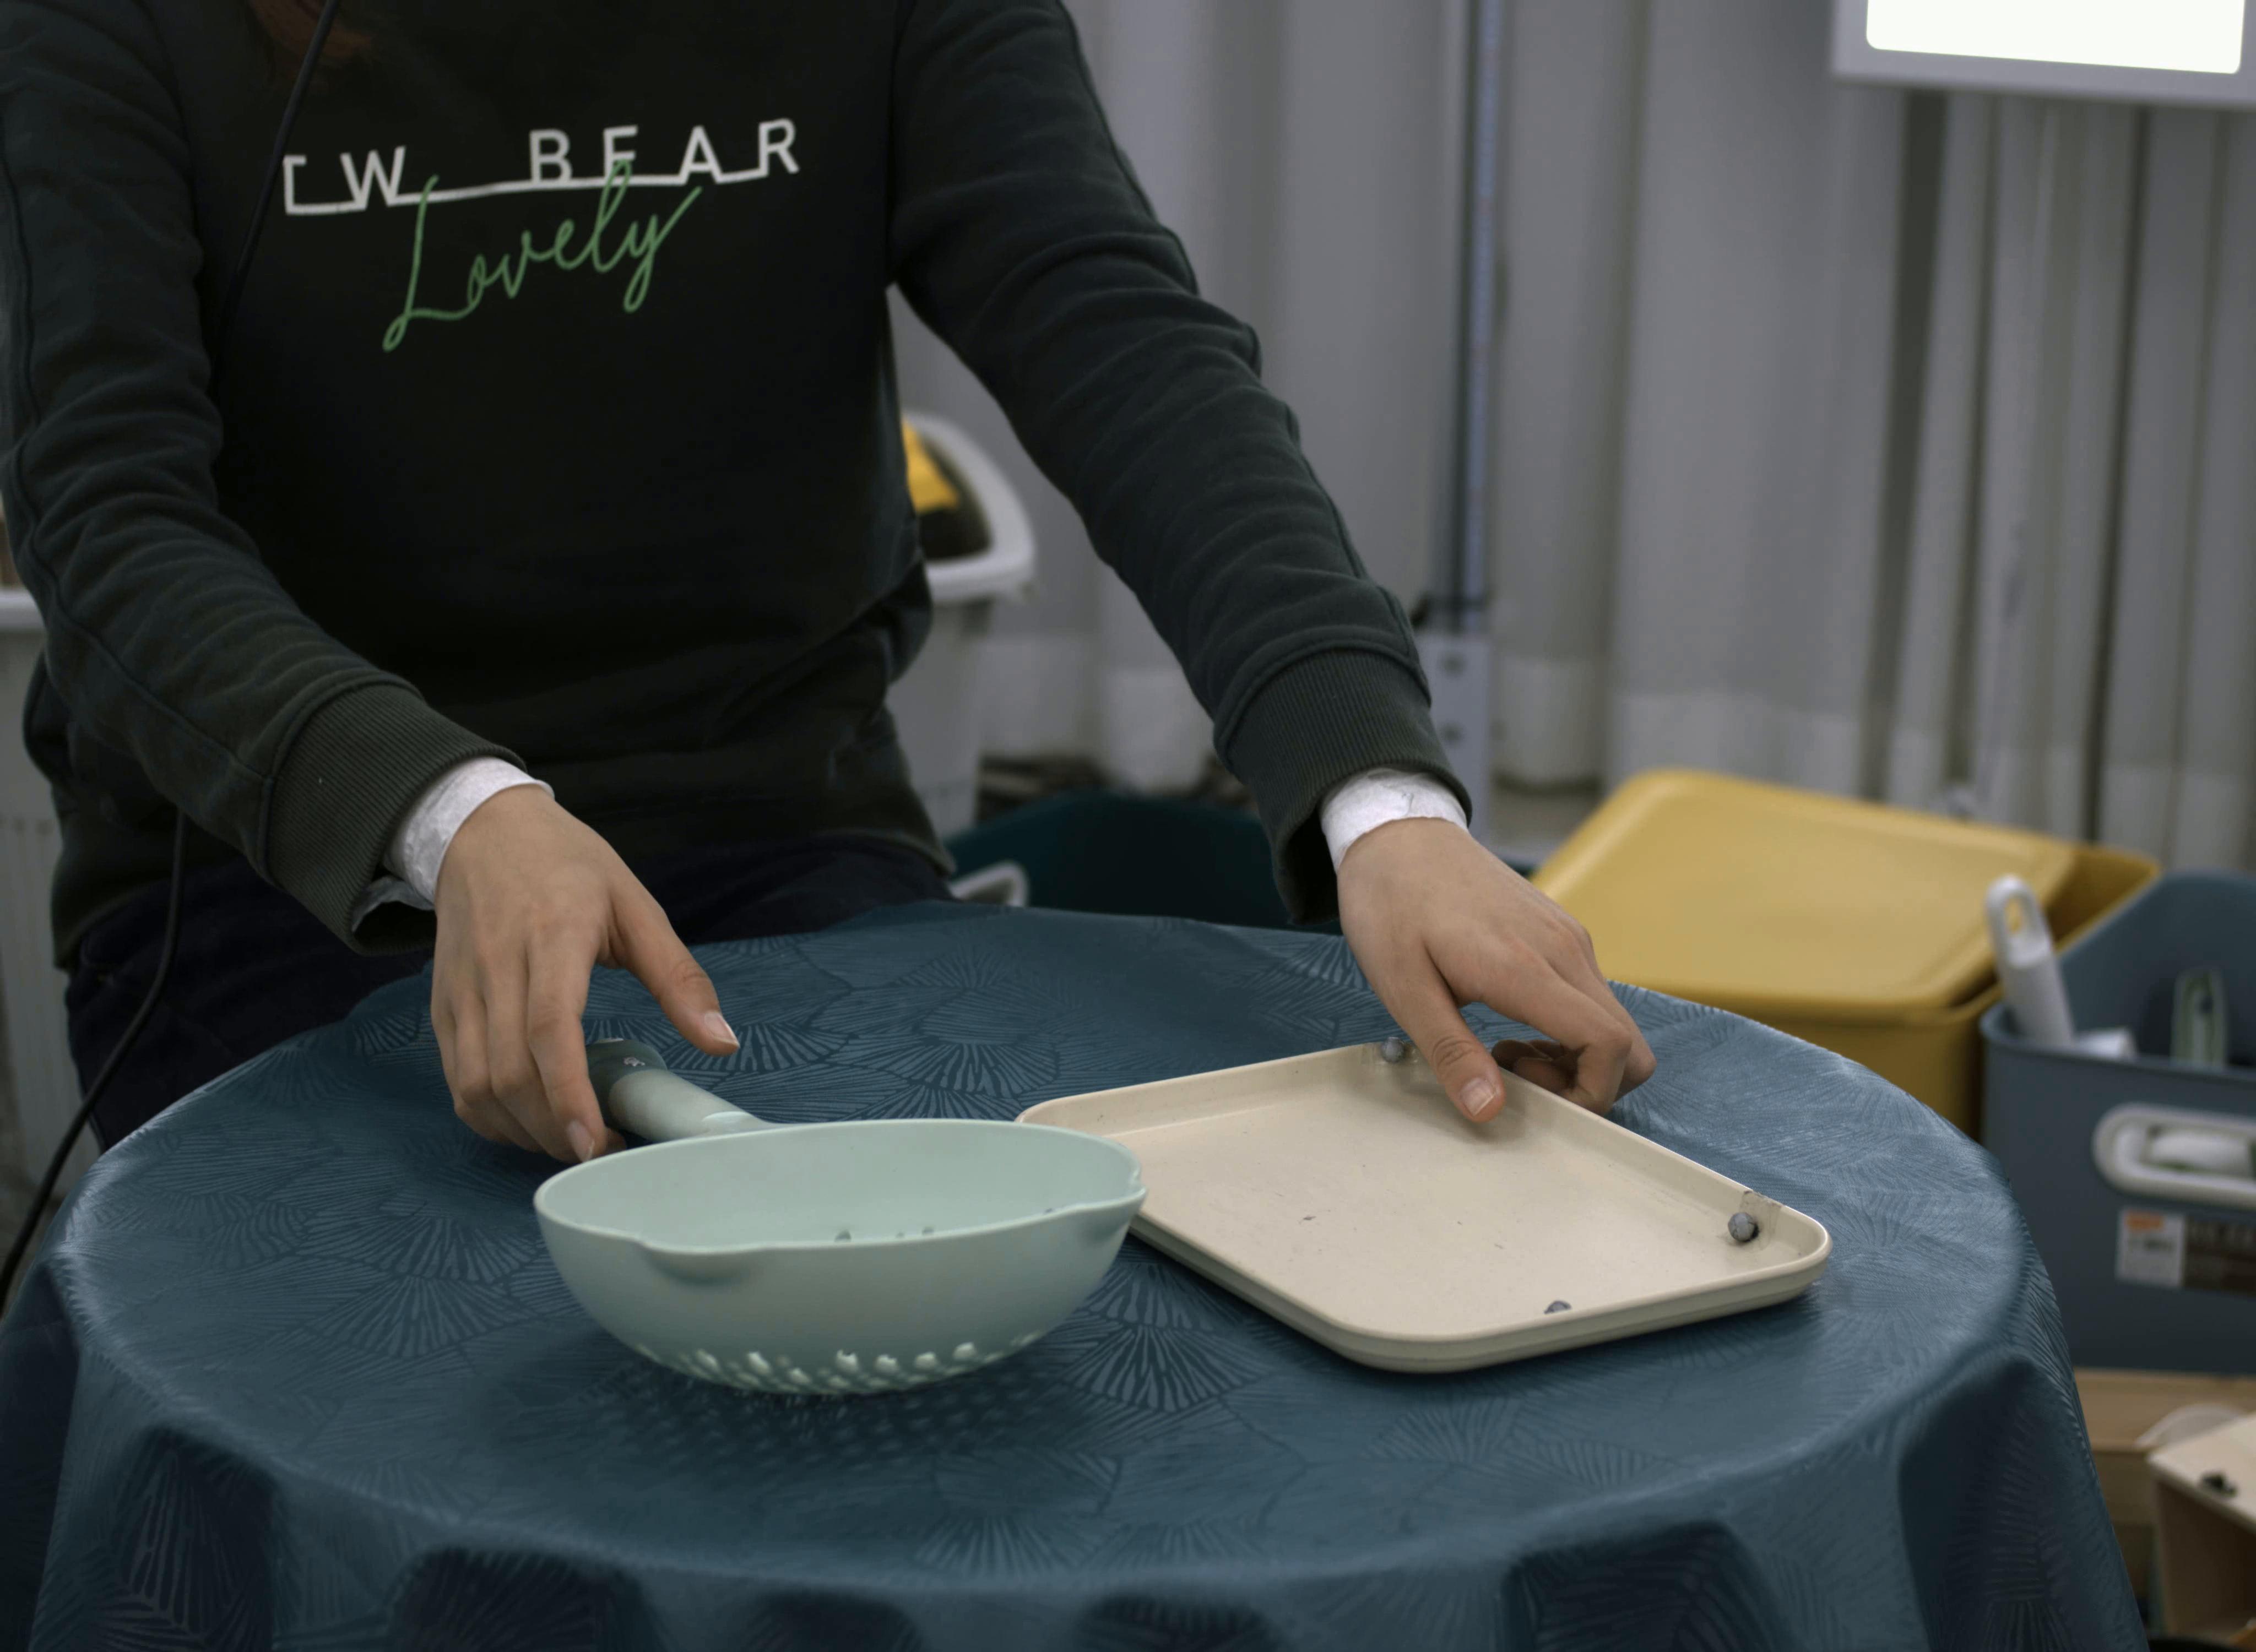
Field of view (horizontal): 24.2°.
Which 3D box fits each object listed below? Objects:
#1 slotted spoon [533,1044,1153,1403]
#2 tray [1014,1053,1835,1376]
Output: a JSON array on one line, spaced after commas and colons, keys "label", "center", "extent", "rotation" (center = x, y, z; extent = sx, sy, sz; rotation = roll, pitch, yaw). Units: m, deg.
[{"label": "slotted spoon", "center": [-0.113, 0.100, 1.550], "extent": [0.170, 0.076, 0.355], "rotation": [-5, 16, -20]}, {"label": "tray", "center": [0.086, 0.115, 1.591], "extent": [0.172, 0.017, 0.236], "rotation": [-8, 17, -30]}]
